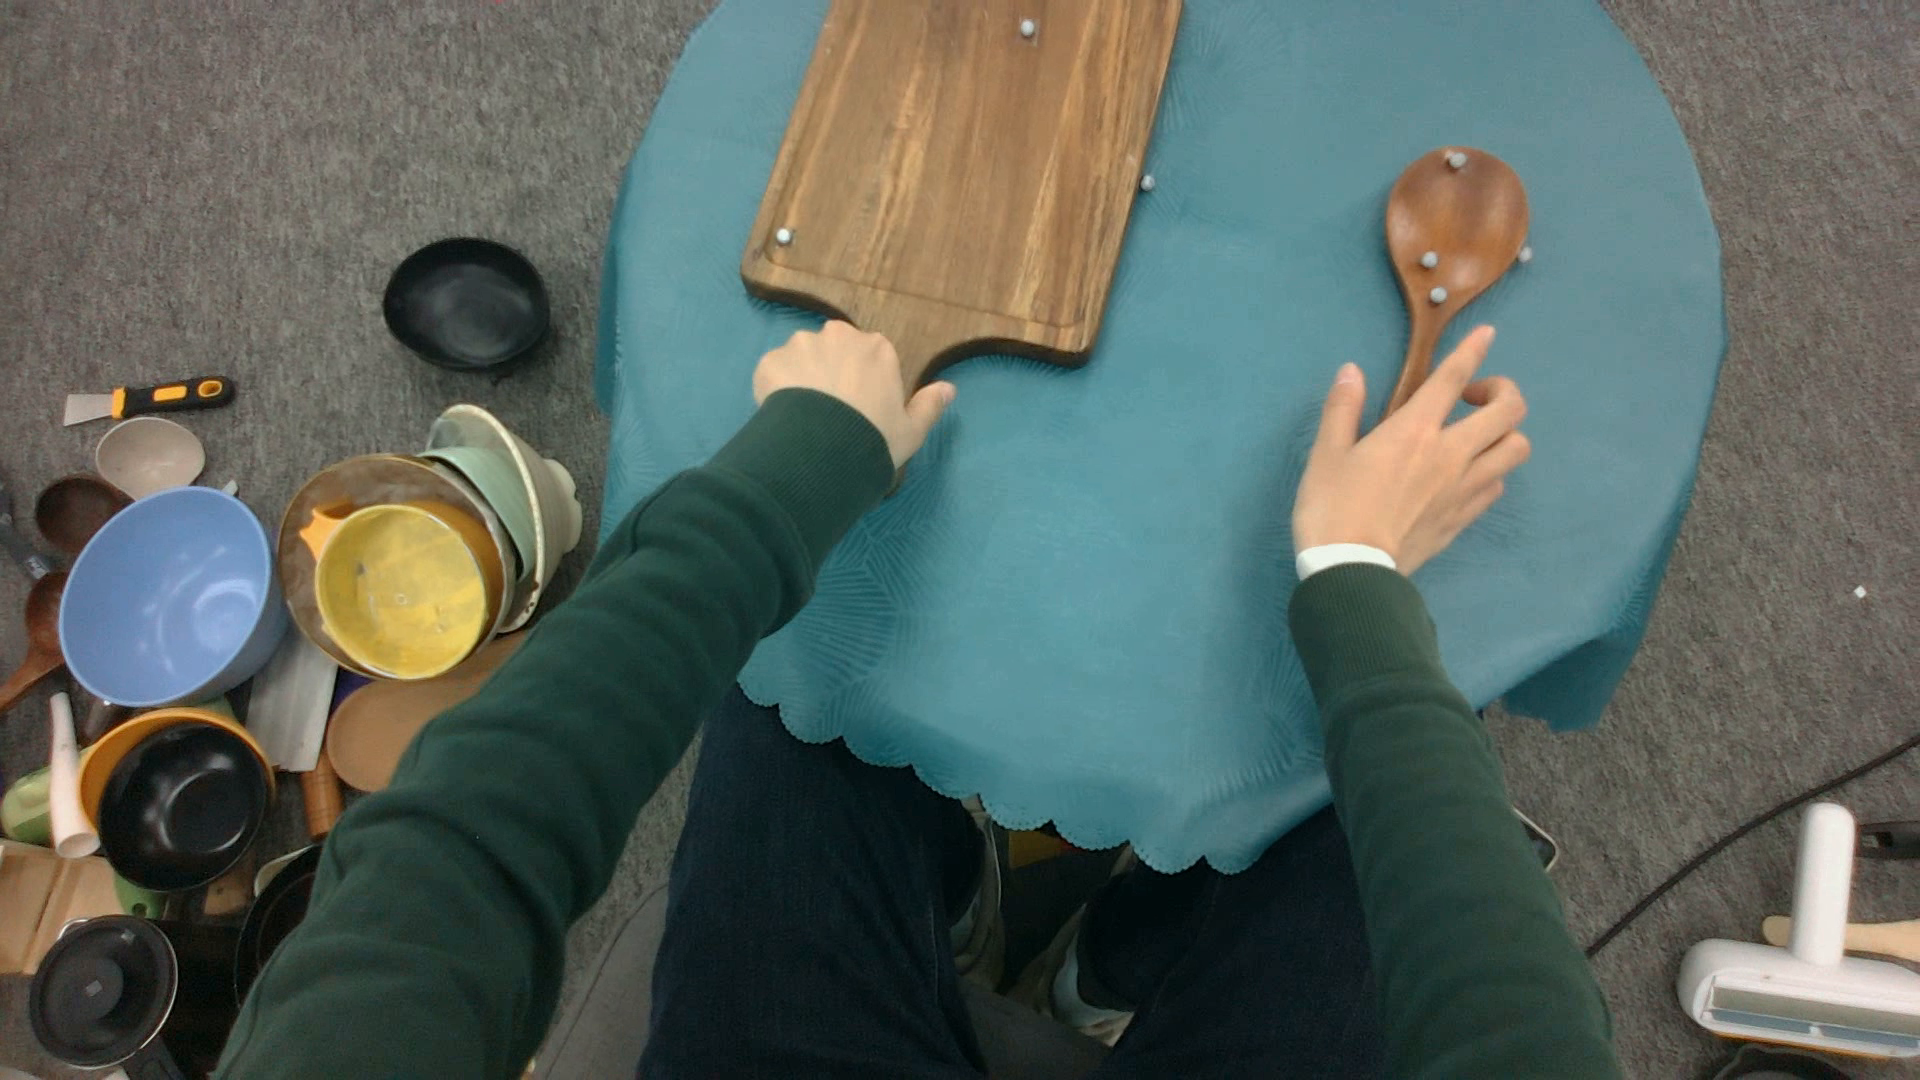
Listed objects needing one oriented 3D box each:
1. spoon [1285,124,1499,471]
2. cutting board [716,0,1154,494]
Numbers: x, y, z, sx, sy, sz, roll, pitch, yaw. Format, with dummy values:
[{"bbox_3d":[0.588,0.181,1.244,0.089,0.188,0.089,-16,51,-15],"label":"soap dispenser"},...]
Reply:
[{"bbox_3d":[0.225,-0.132,0.739,0.075,0.017,0.216,25,77,12],"label":"spoon"},{"bbox_3d":[-0.020,-0.189,0.756,0.201,0.023,0.353,13,71,4],"label":"cutting board"}]
